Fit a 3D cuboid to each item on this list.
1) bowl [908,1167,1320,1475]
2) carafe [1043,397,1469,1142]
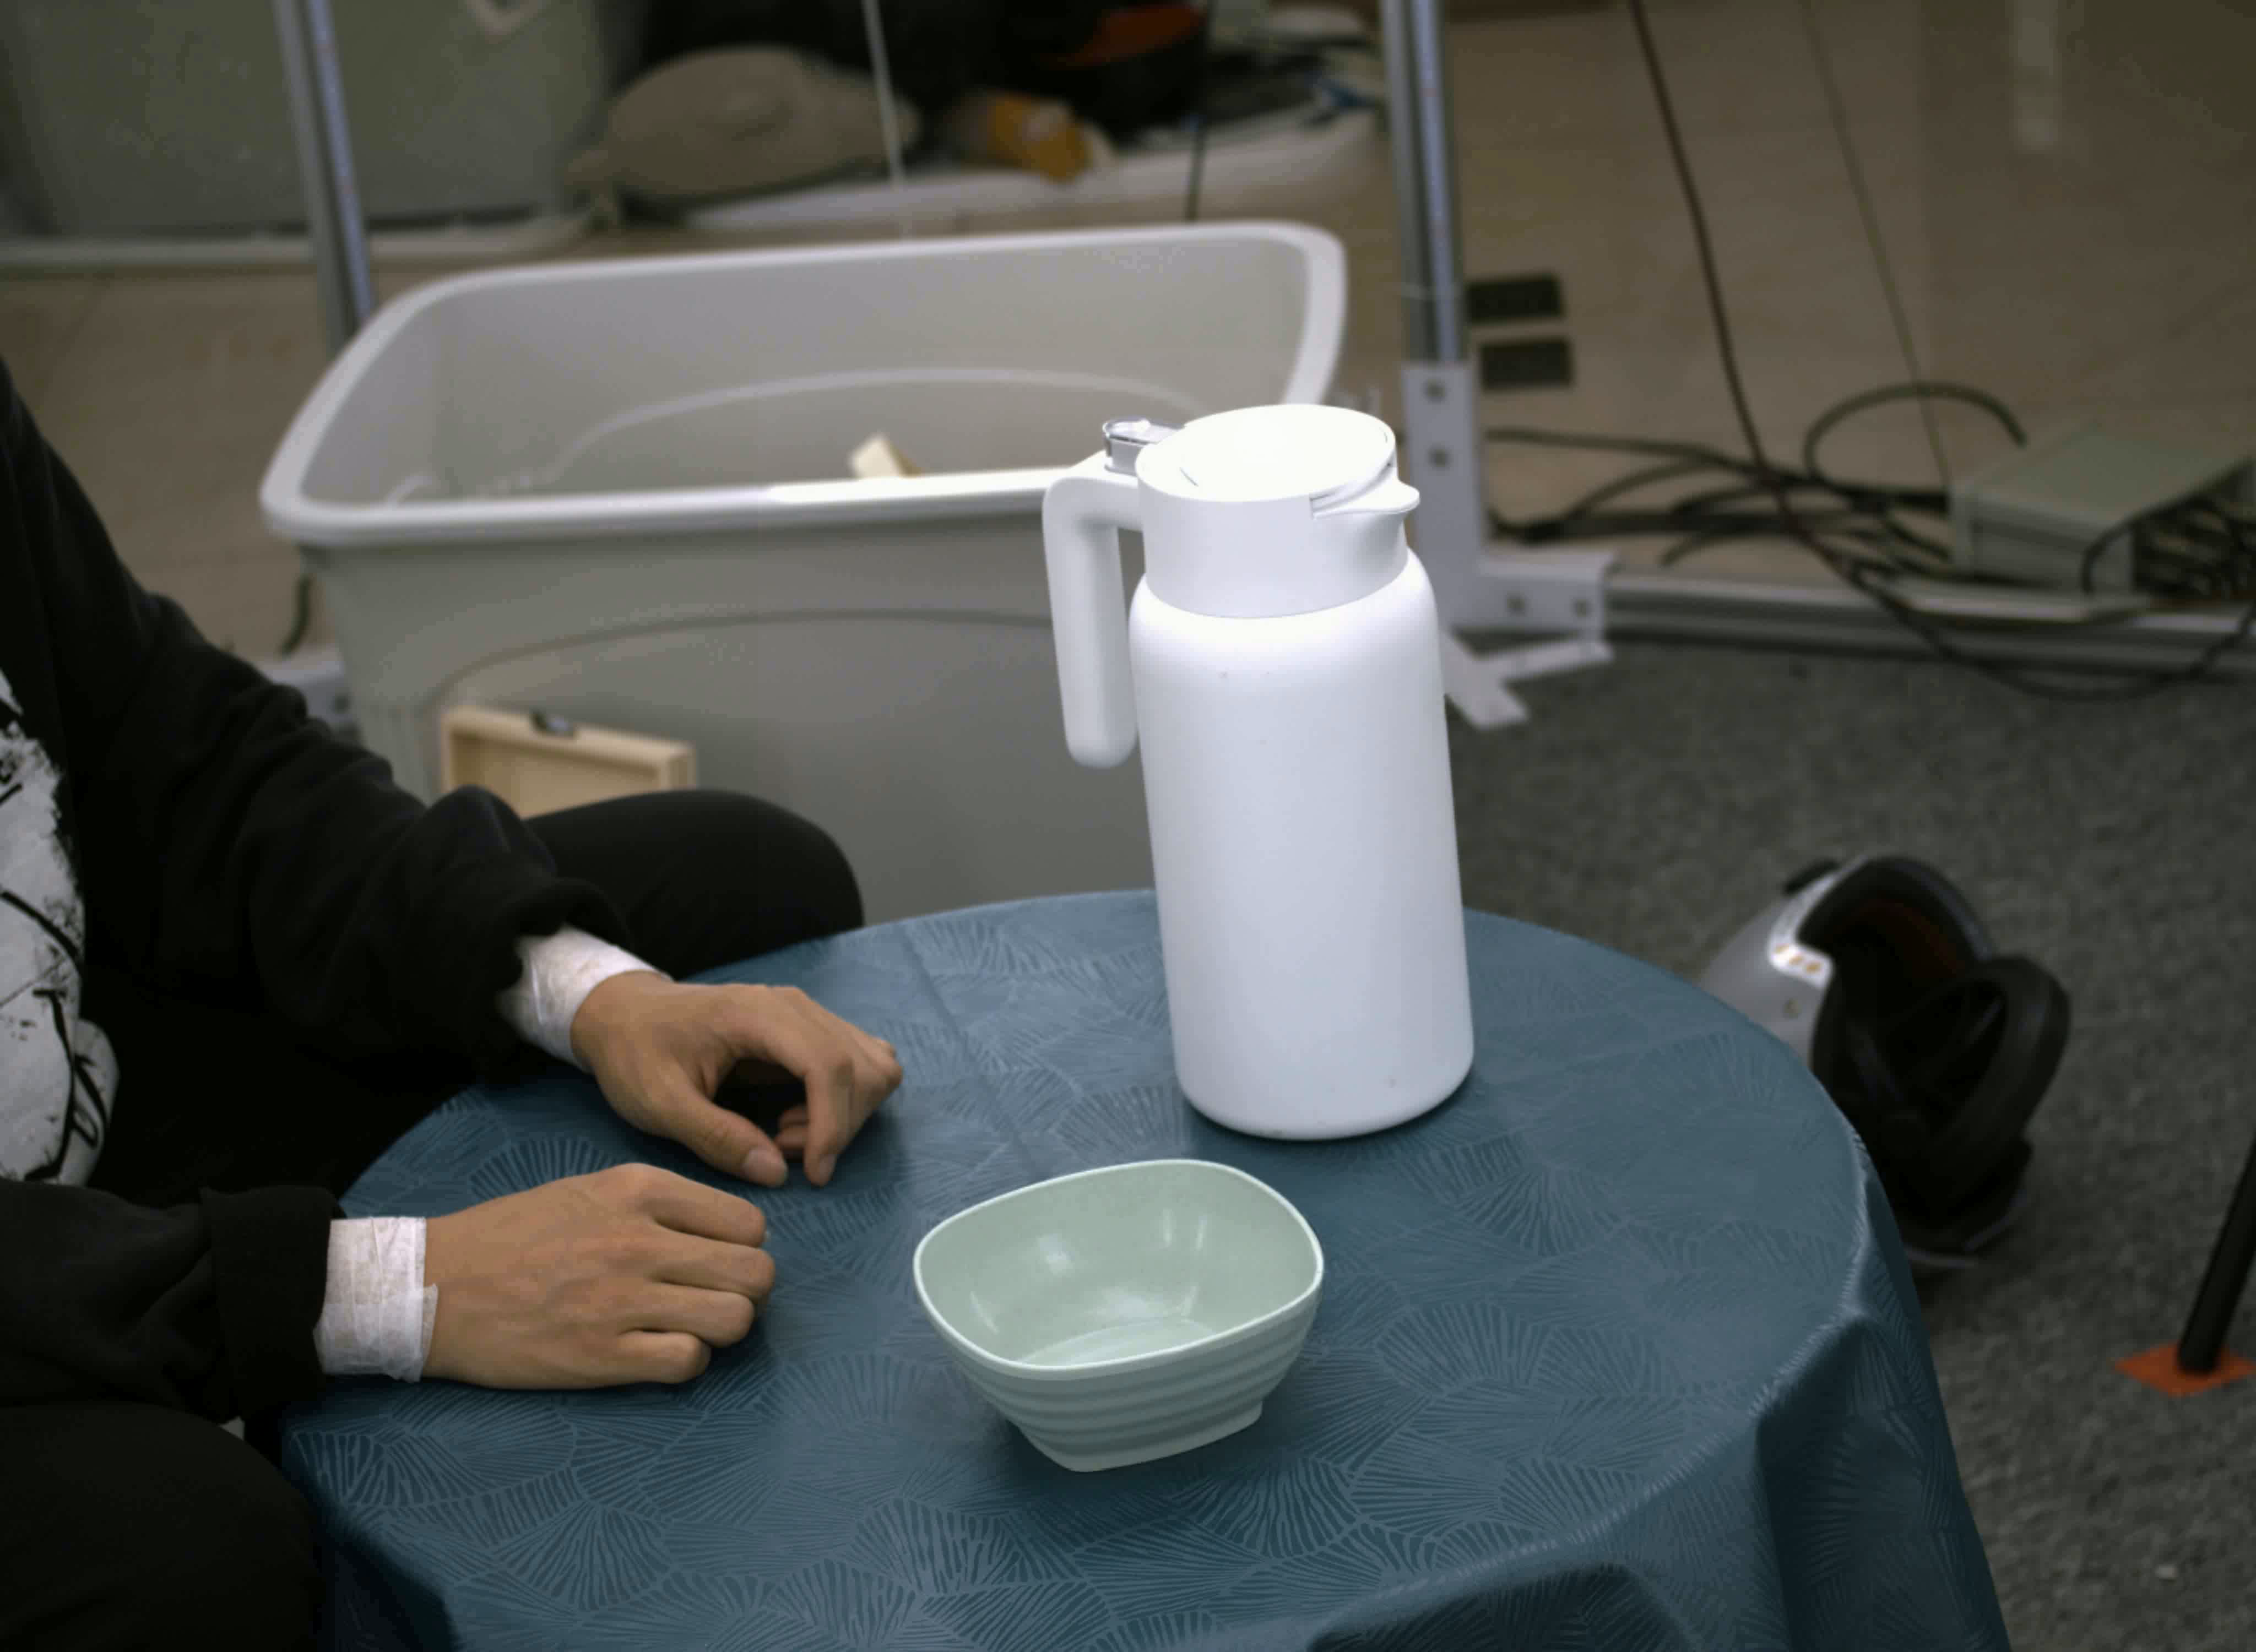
[{"bbox_3d":[-0.003,0.180,1.999,0.151,0.059,0.149,-5,25,2],"label":"bowl"},{"bbox_3d":[0.049,-0.023,2.165,0.172,0.273,0.122,14,34,35],"label":"carafe"}]
